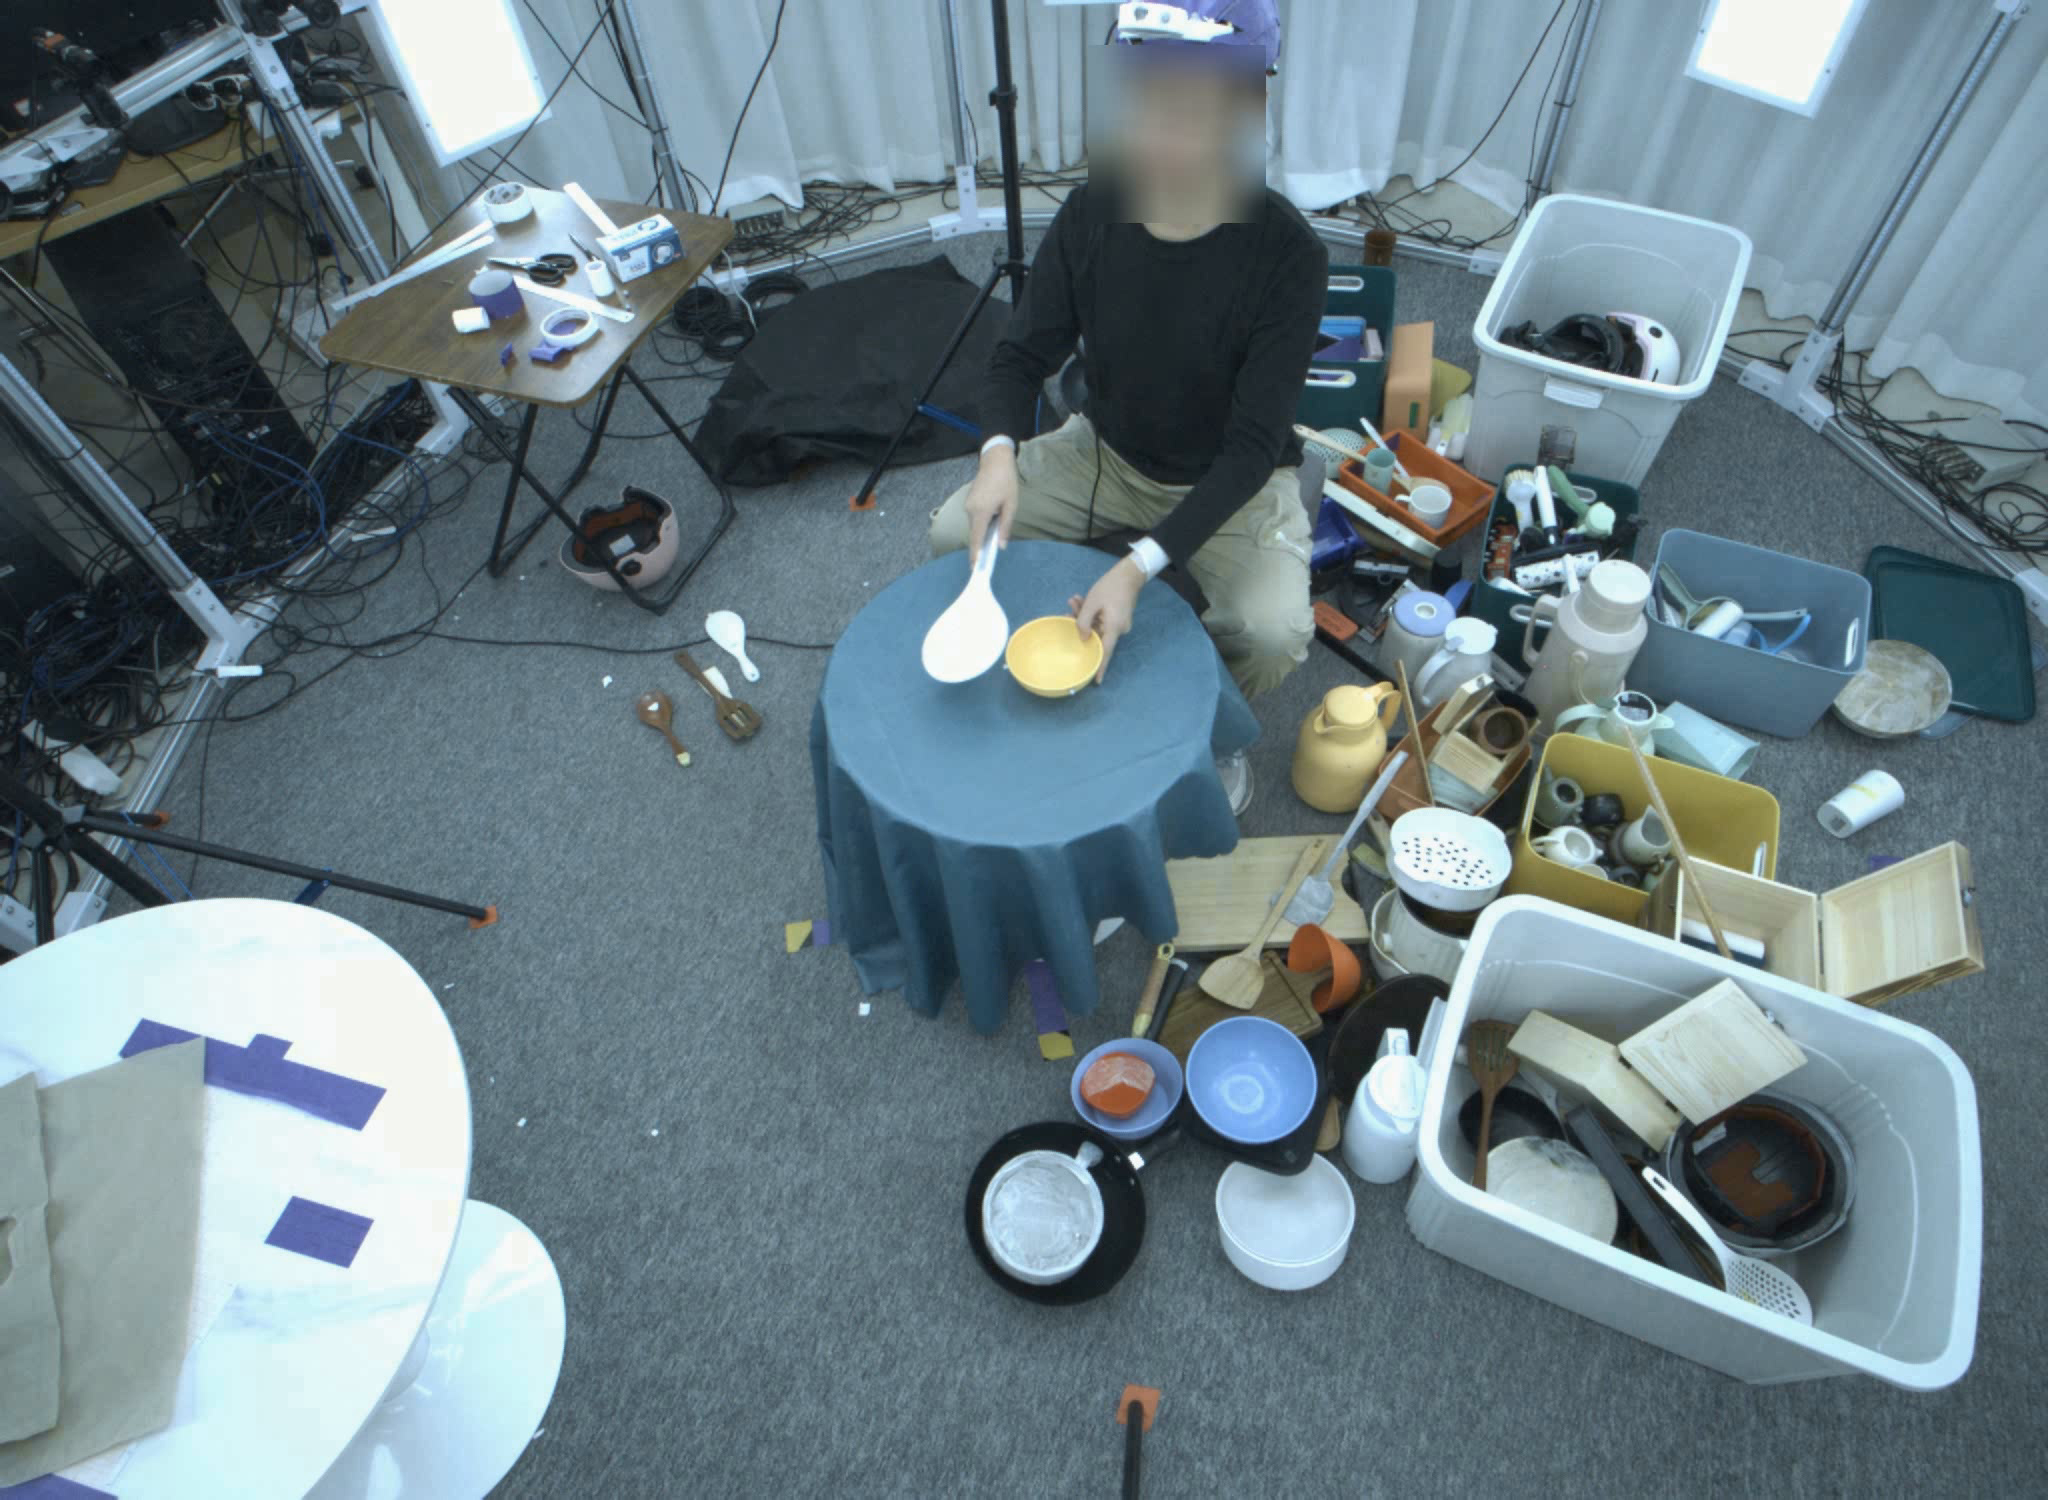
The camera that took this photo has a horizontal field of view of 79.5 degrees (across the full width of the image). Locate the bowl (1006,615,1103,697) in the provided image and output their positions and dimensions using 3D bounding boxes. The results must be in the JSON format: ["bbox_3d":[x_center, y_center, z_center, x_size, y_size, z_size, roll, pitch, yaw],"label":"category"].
[{"bbox_3d":[0.046,-0.129,1.843,0.145,0.061,0.144,0,56,2],"label":"bowl"}]

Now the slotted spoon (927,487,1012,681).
[{"bbox_3d":[-0.061,-0.252,1.831,0.134,0.047,0.348,-3,67,25],"label":"slotted spoon"}]
